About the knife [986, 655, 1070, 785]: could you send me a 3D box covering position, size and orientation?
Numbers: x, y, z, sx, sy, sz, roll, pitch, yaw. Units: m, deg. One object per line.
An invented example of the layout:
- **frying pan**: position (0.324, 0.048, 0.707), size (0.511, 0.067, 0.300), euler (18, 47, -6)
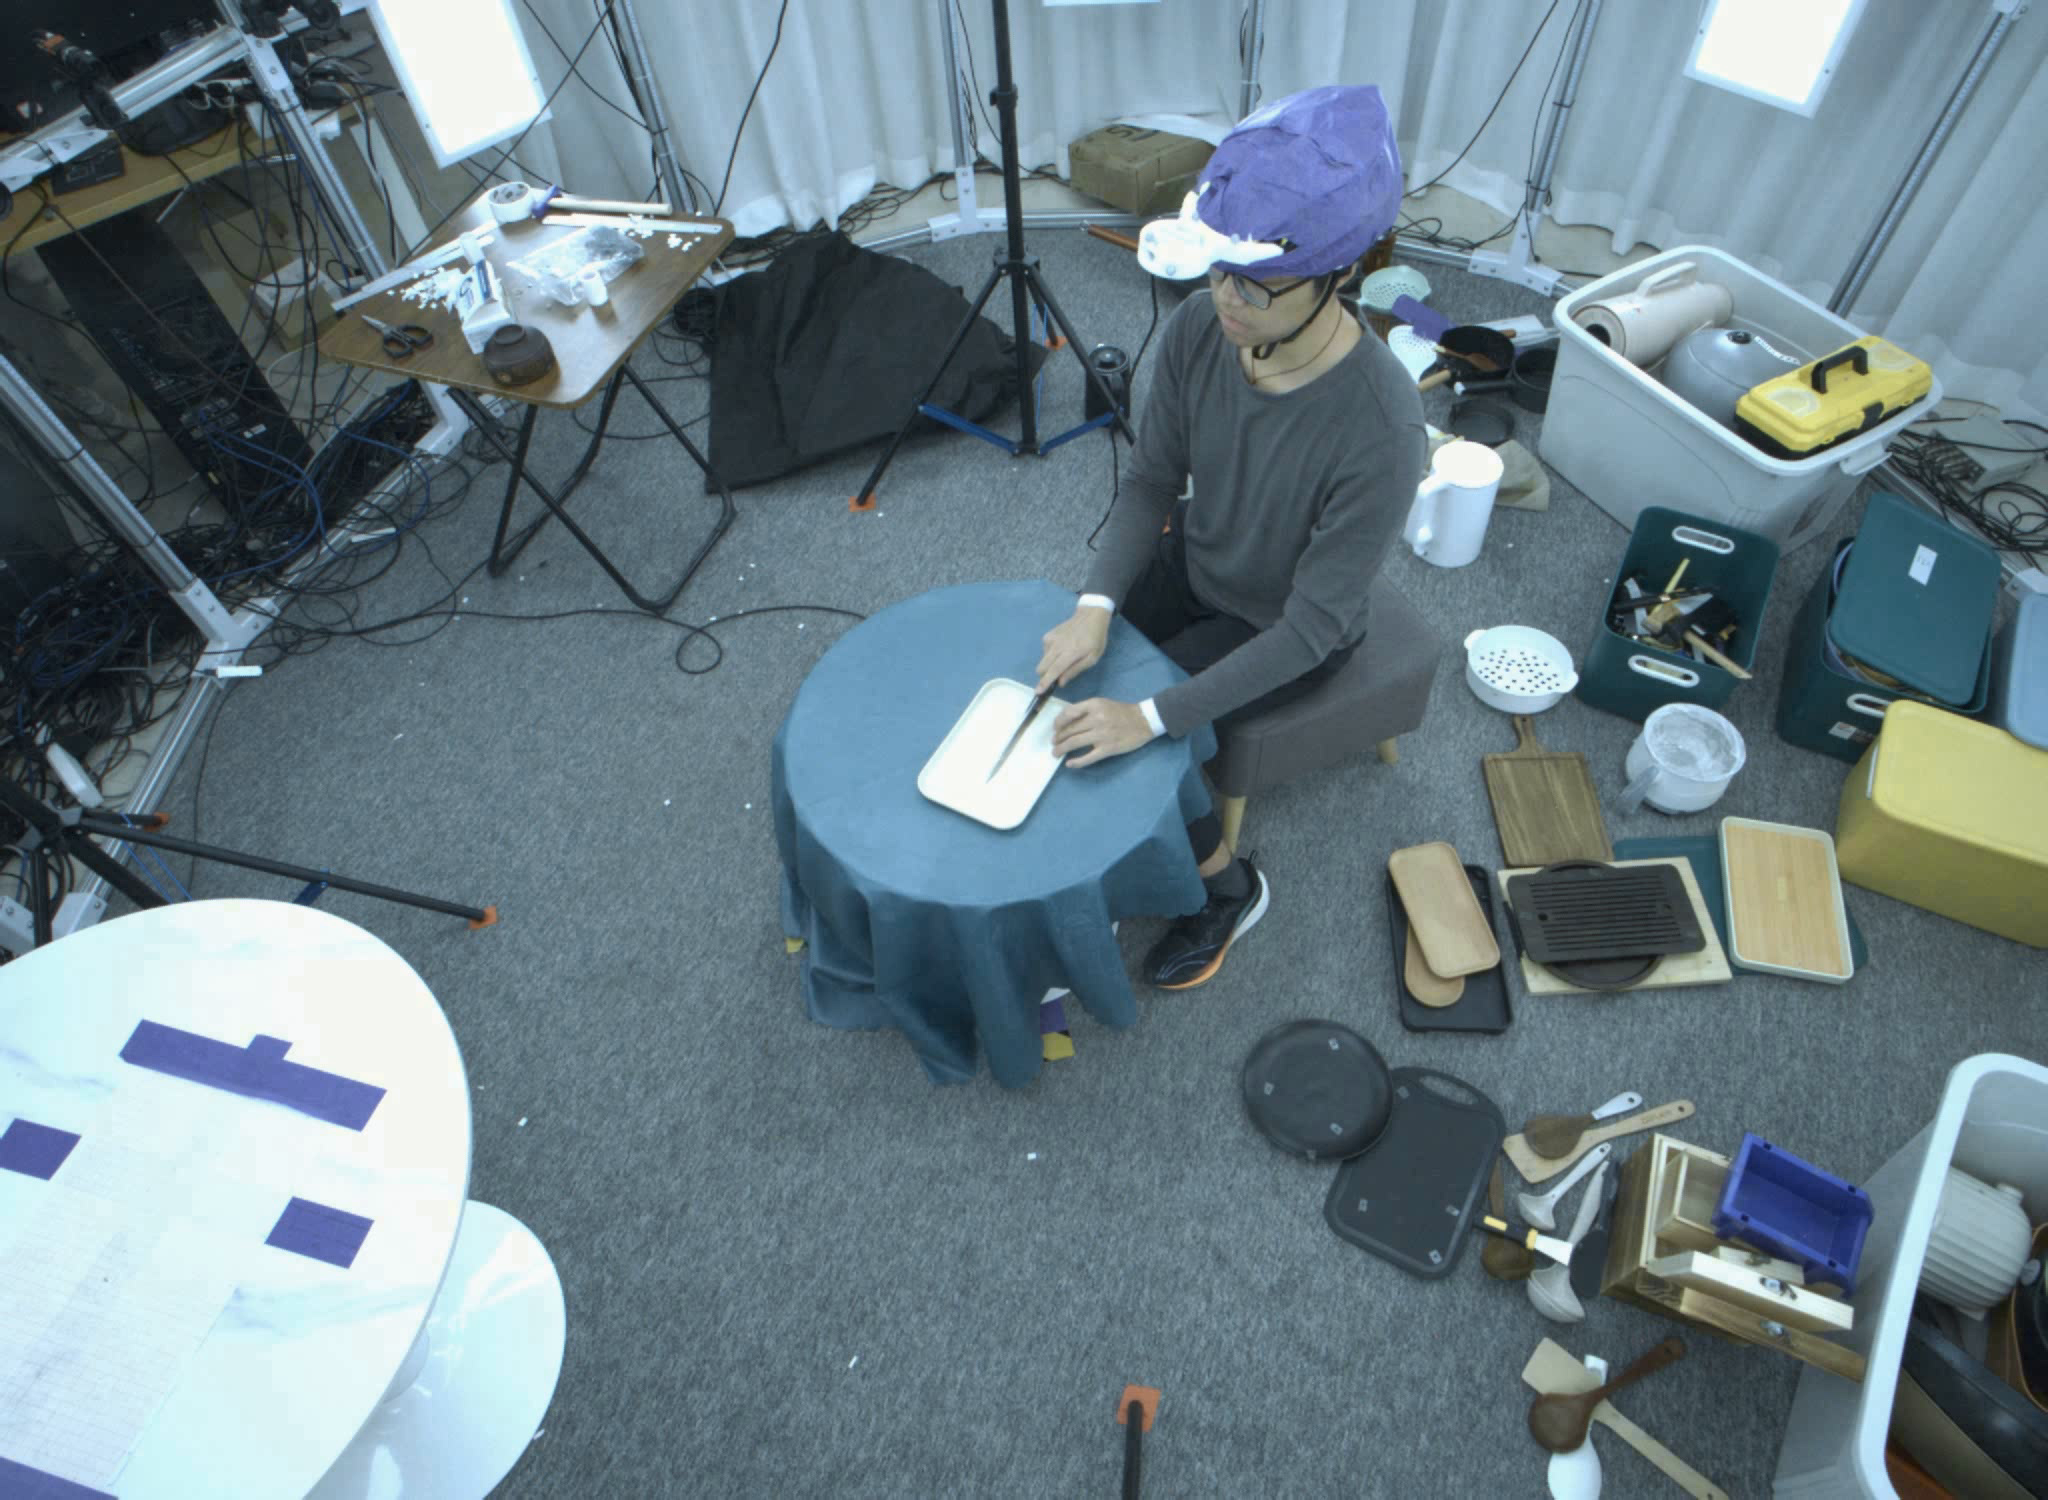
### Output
- **knife**: position (0.005, -0.047, 1.773), size (0.016, 0.025, 0.238), euler (21, 66, 25)

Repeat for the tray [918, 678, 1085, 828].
- **tray**: position (-0.030, 0.003, 1.783), size (0.169, 0.017, 0.240), euler (23, 58, 18)
